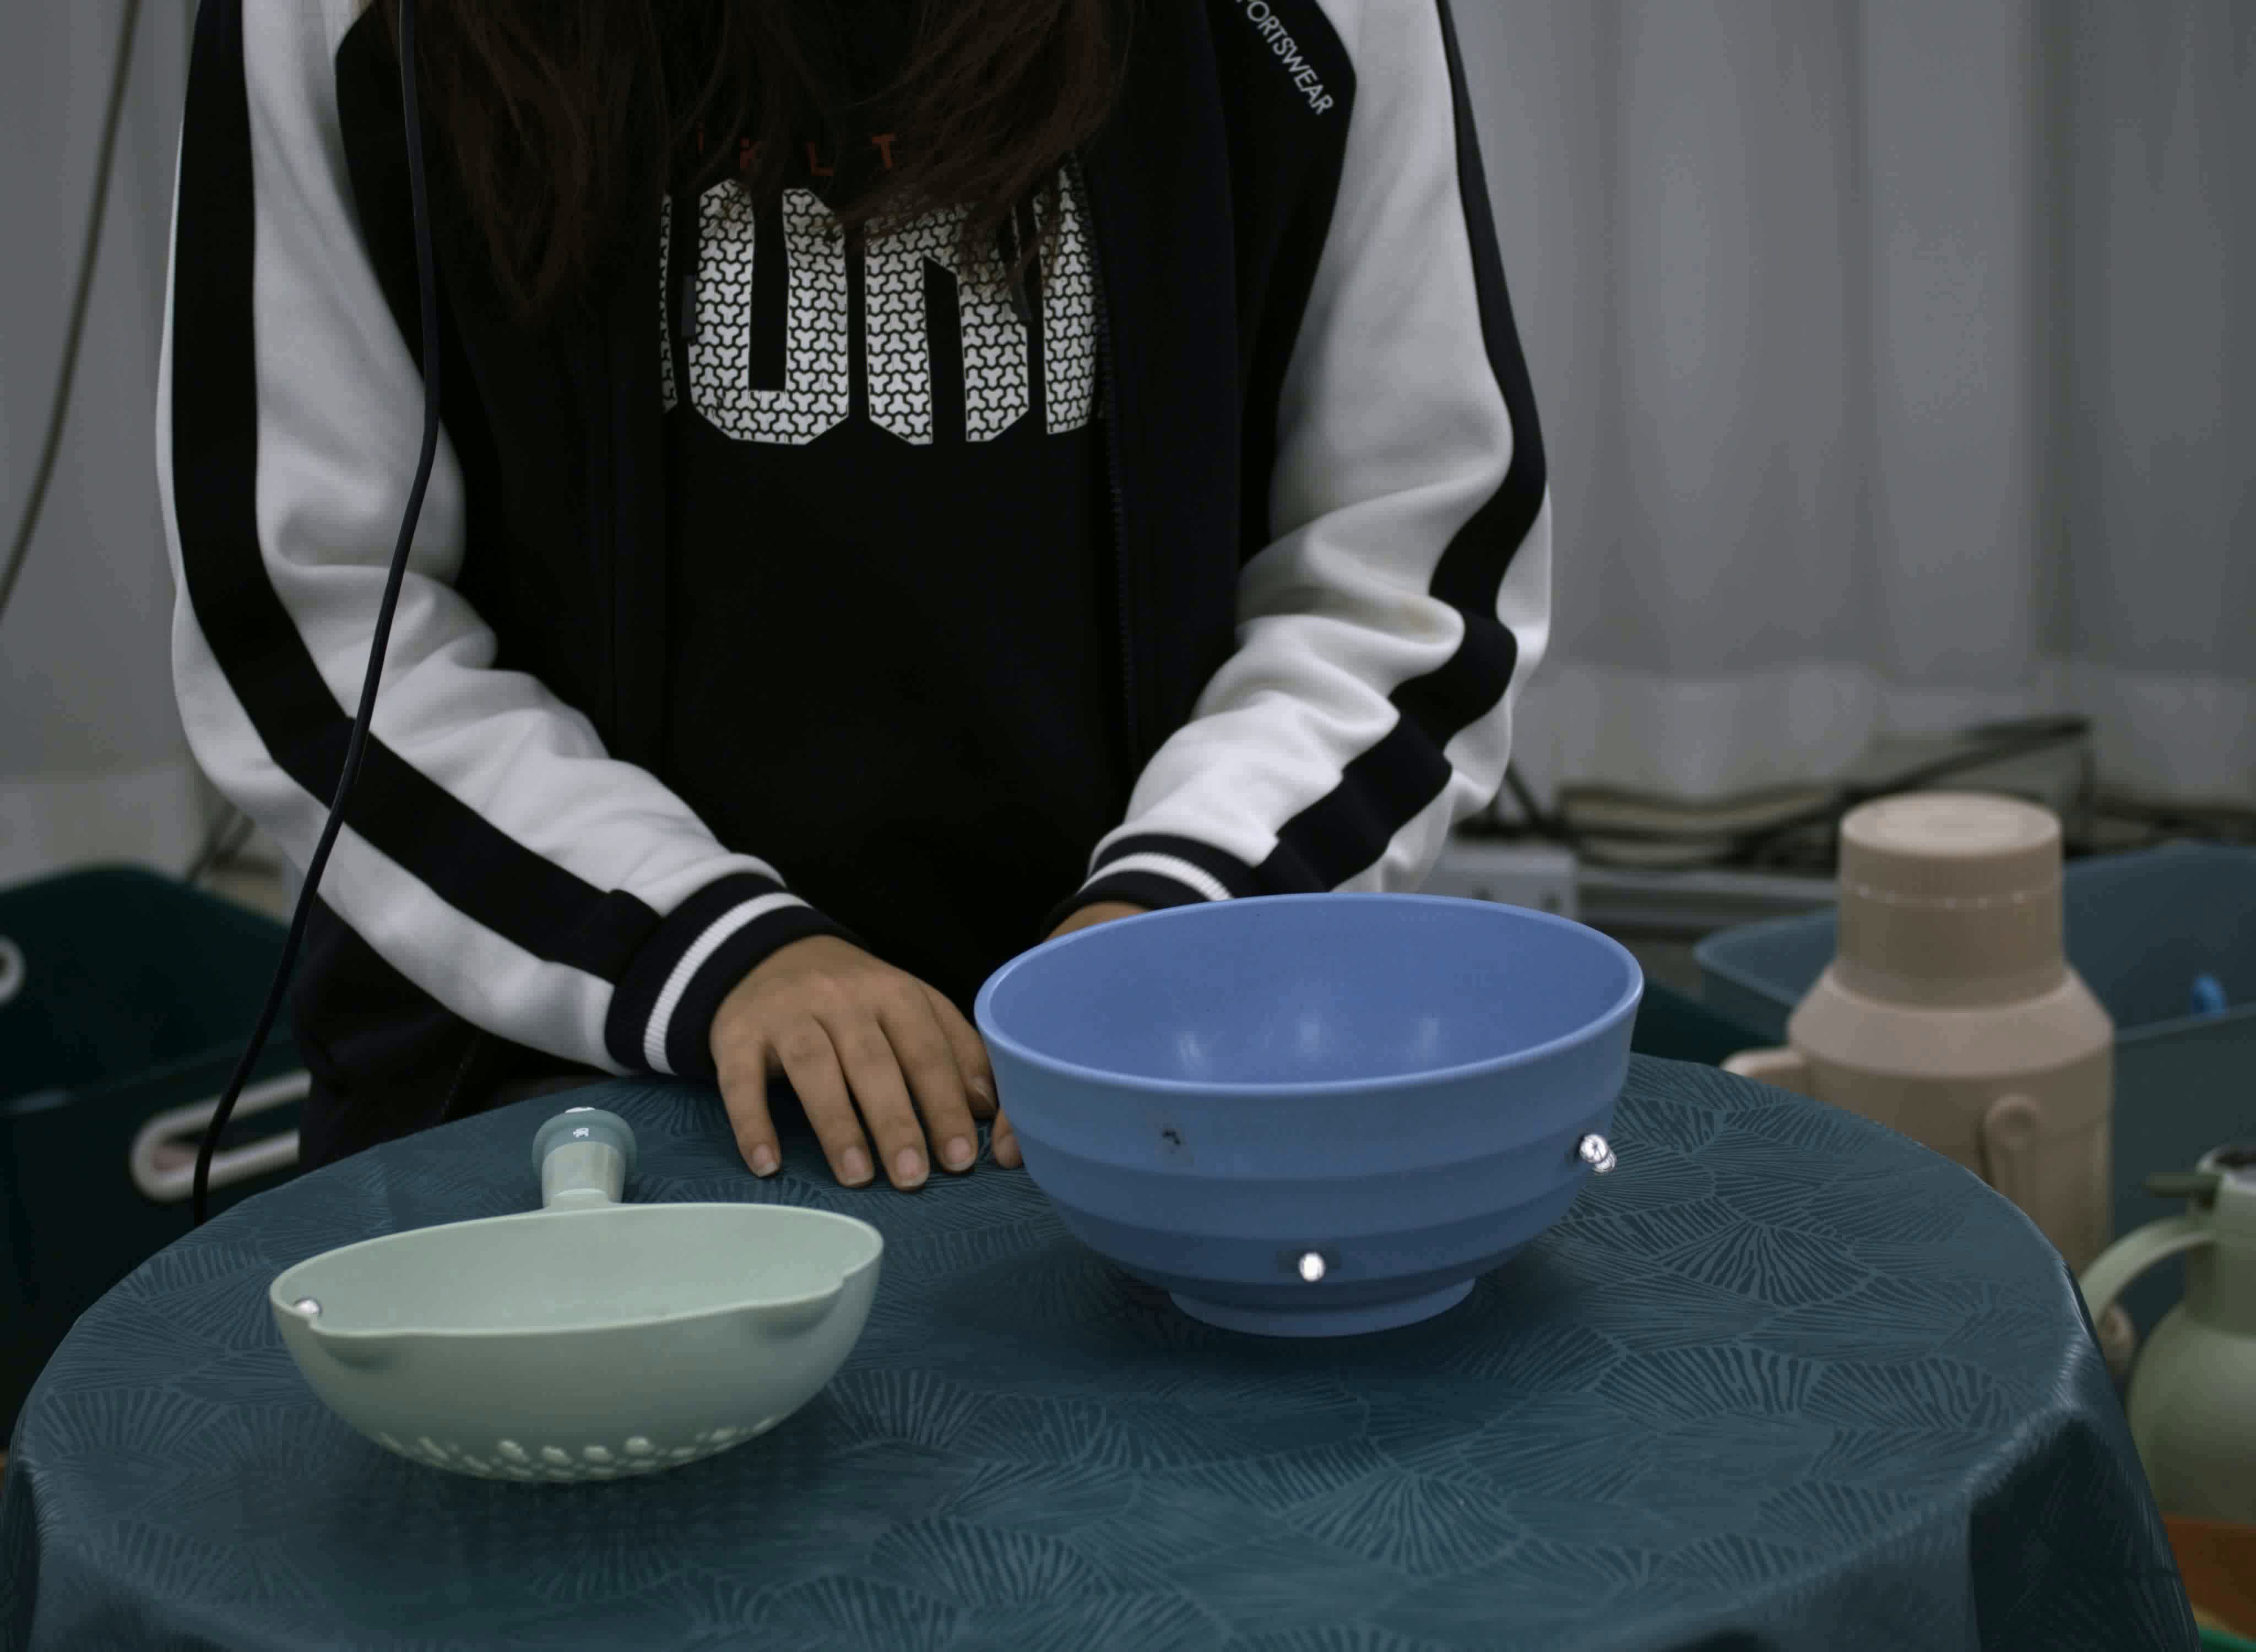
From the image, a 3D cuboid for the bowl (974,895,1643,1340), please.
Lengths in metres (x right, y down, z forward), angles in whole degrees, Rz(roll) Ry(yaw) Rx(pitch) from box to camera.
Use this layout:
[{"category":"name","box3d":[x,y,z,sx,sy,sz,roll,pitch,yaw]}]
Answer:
[{"category":"bowl","box3d":[0.055,0.091,1.609,0.196,0.095,0.198,-4,14,1]}]

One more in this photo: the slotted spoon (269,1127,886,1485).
[{"category":"slotted spoon","box3d":[-0.158,0.124,1.597,0.168,0.075,0.361,-3,13,-5]}]
